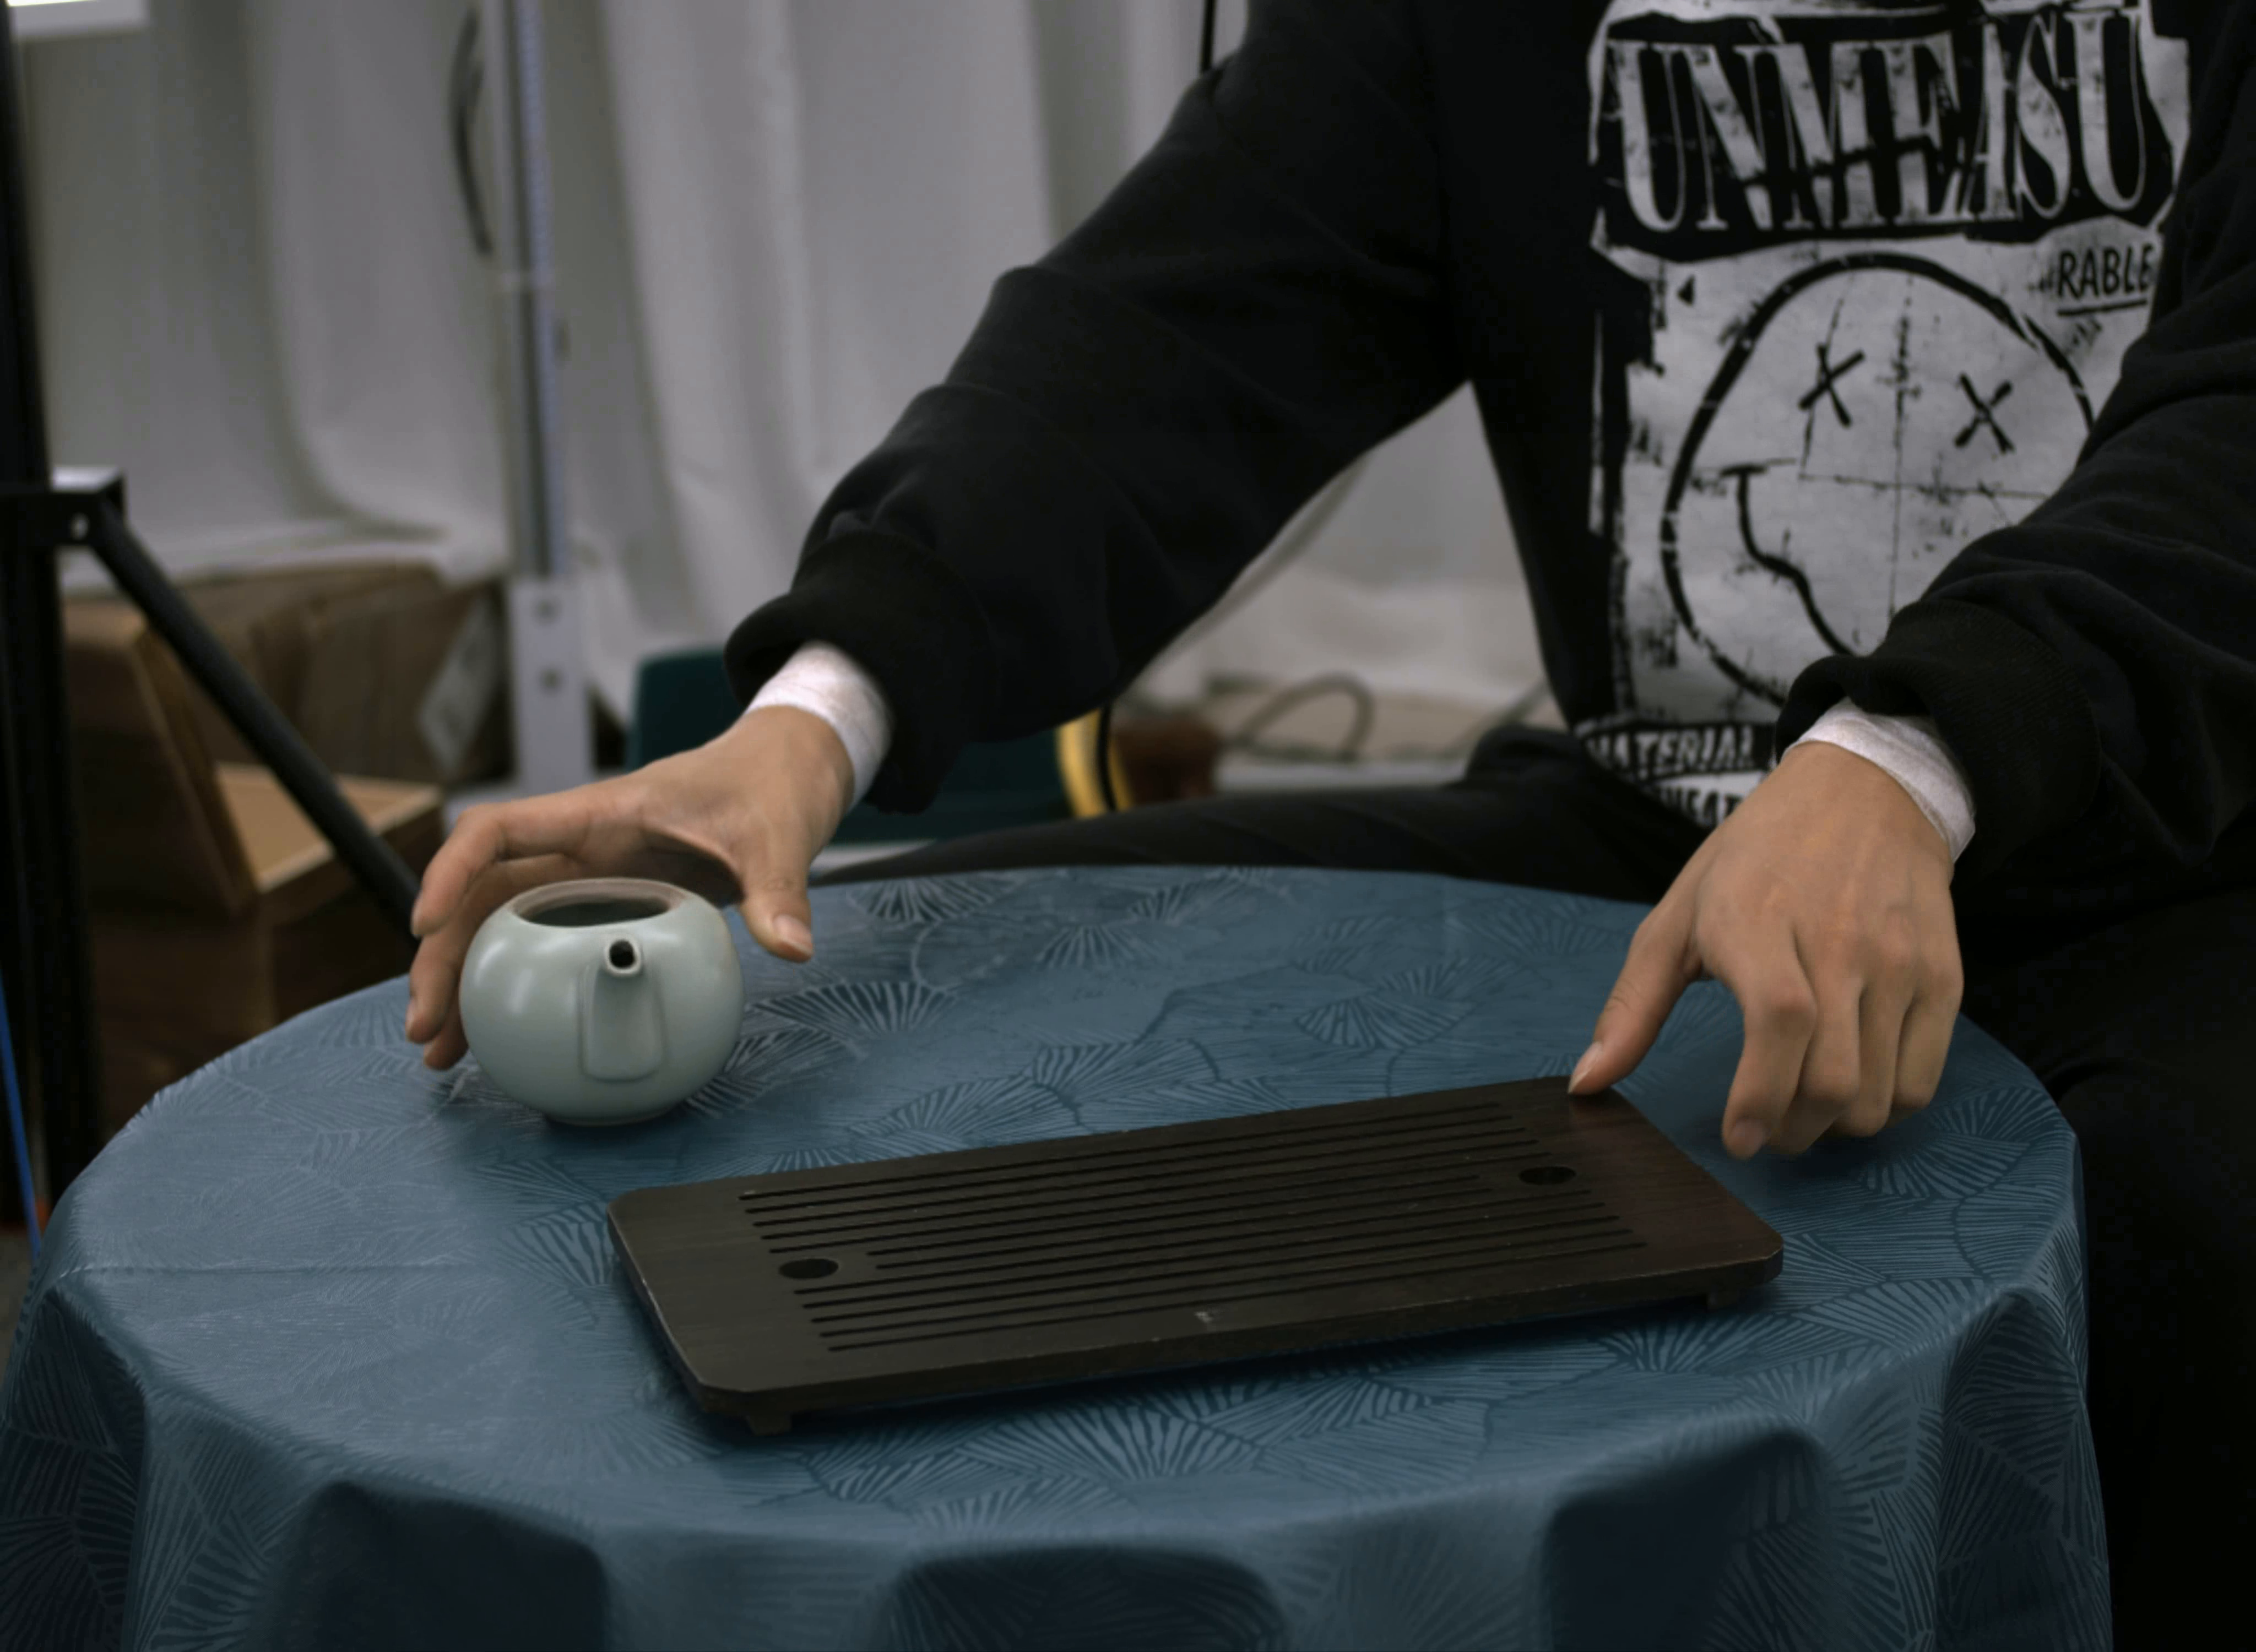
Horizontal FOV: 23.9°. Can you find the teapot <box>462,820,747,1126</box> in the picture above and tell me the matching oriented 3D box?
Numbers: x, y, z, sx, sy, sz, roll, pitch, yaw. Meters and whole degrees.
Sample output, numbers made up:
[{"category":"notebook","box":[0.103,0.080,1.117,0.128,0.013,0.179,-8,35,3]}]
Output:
[{"category":"teapot","box":[-0.161,0.051,1.648,0.087,0.074,0.145,-5,18,-9]}]

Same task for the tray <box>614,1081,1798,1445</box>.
[{"category":"tray","box":[0.019,0.120,1.477,0.302,0.018,0.172,-6,16,-12]}]
